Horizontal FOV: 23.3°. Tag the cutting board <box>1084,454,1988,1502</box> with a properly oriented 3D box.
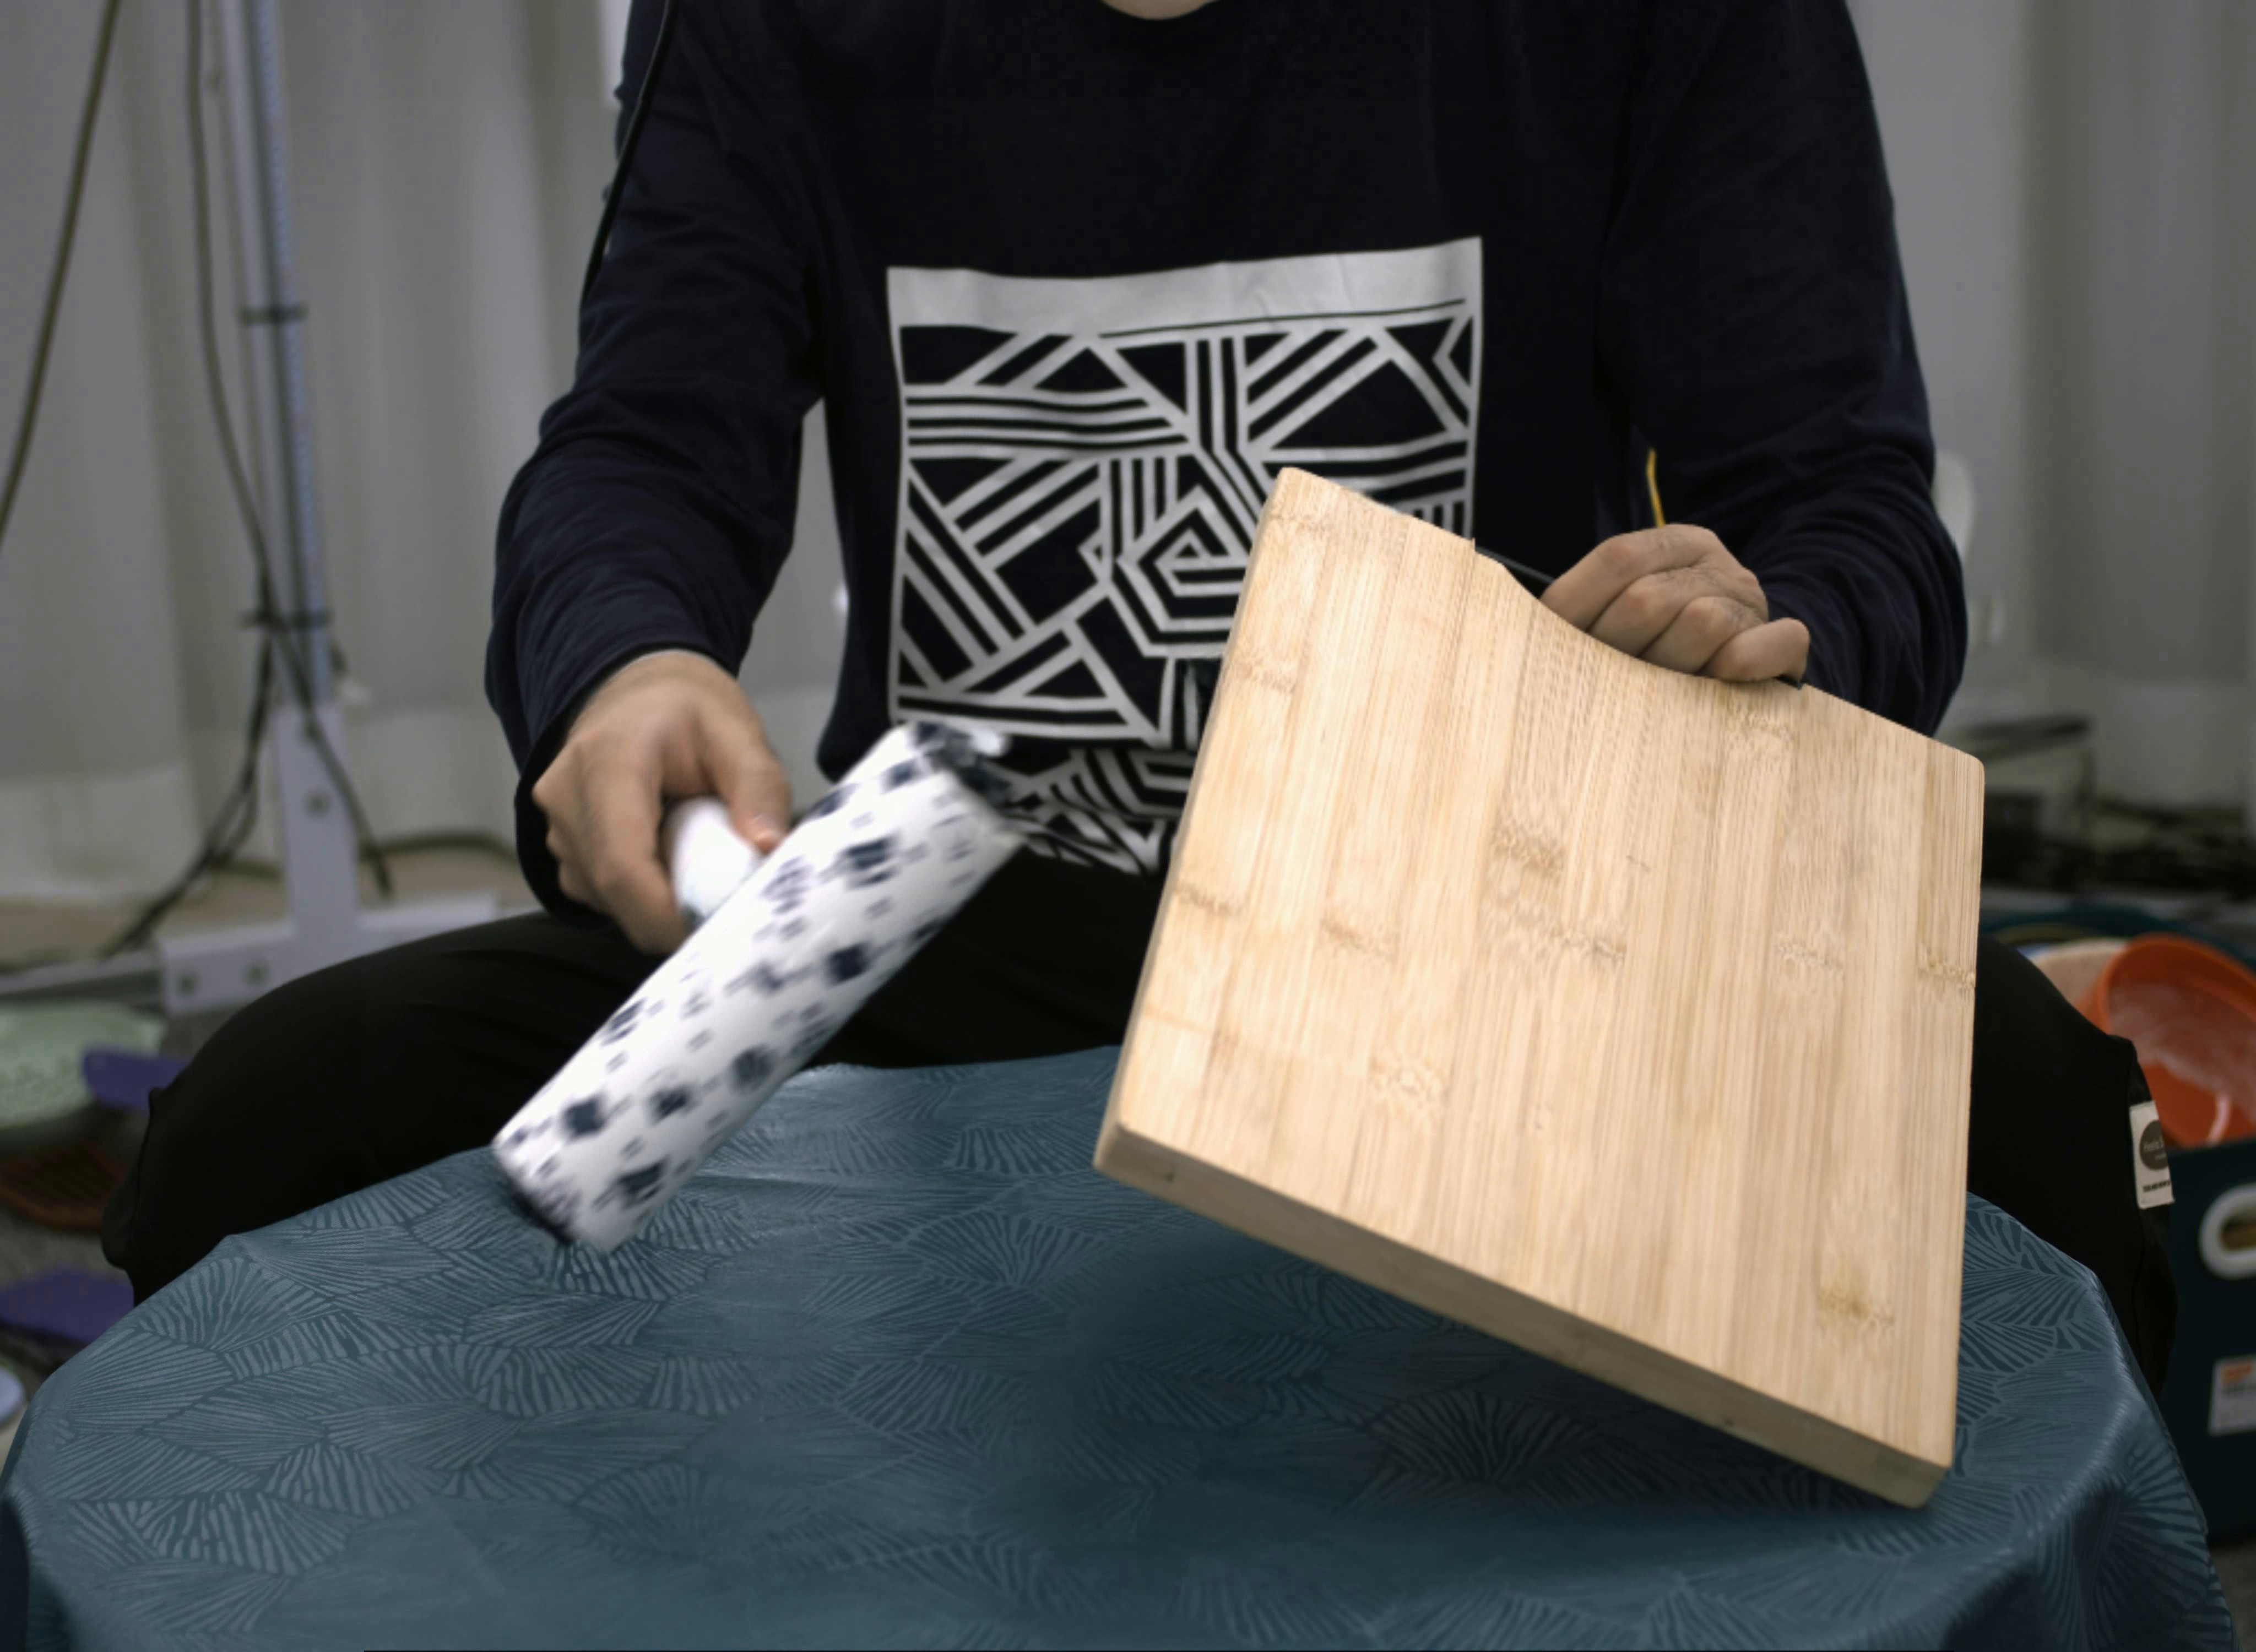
[{"bbox_3d":[0.128,0.032,1.564,0.250,0.023,0.353,23,34,-5],"label":"cutting board"}]

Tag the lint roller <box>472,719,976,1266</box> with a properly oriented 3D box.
[{"bbox_3d":[-0.123,0.025,1.591,0.050,0.176,0.249,41,4,-14],"label":"lint roller"}]
